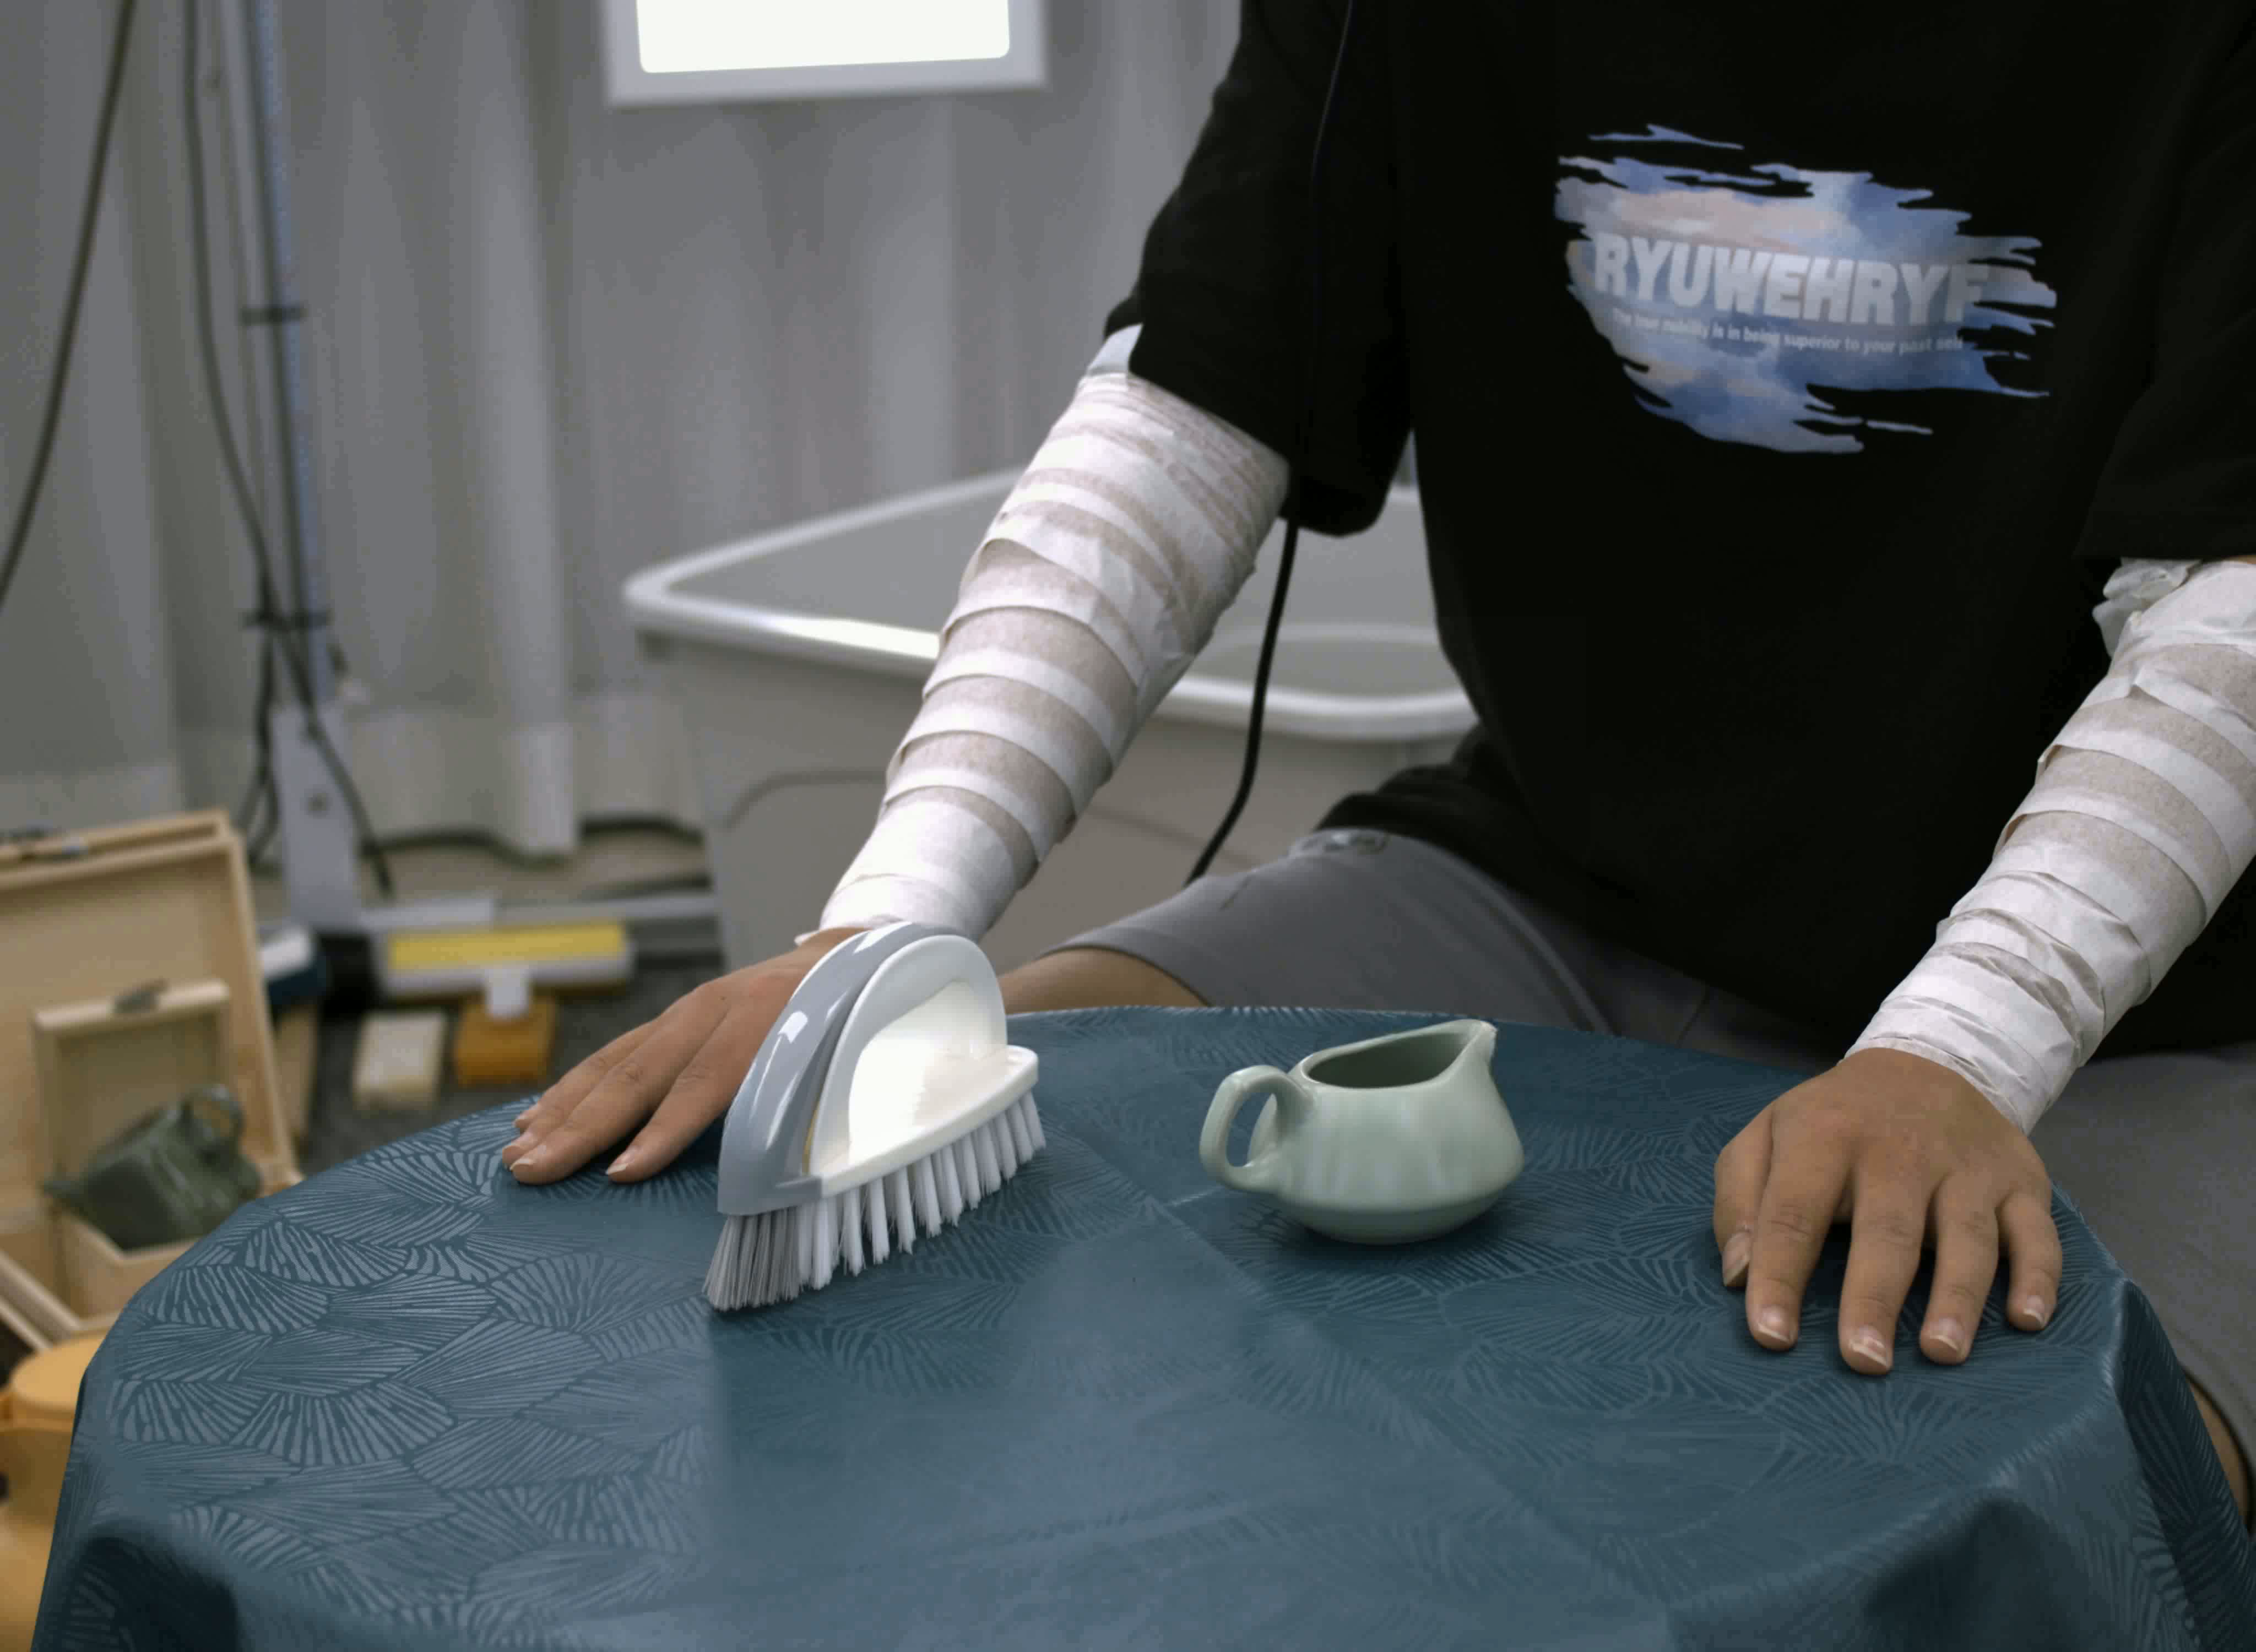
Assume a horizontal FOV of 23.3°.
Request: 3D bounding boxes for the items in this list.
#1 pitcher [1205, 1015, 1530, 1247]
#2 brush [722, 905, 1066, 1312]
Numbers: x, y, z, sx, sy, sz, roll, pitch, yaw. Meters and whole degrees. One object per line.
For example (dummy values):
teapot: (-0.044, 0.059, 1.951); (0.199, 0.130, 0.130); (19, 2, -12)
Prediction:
pitcher: (0.070, 0.096, 1.661); (0.107, 0.060, 0.086); (-15, 18, -33)
brush: (-0.081, 0.081, 1.678); (0.061, 0.094, 0.176); (-1, 15, 26)
